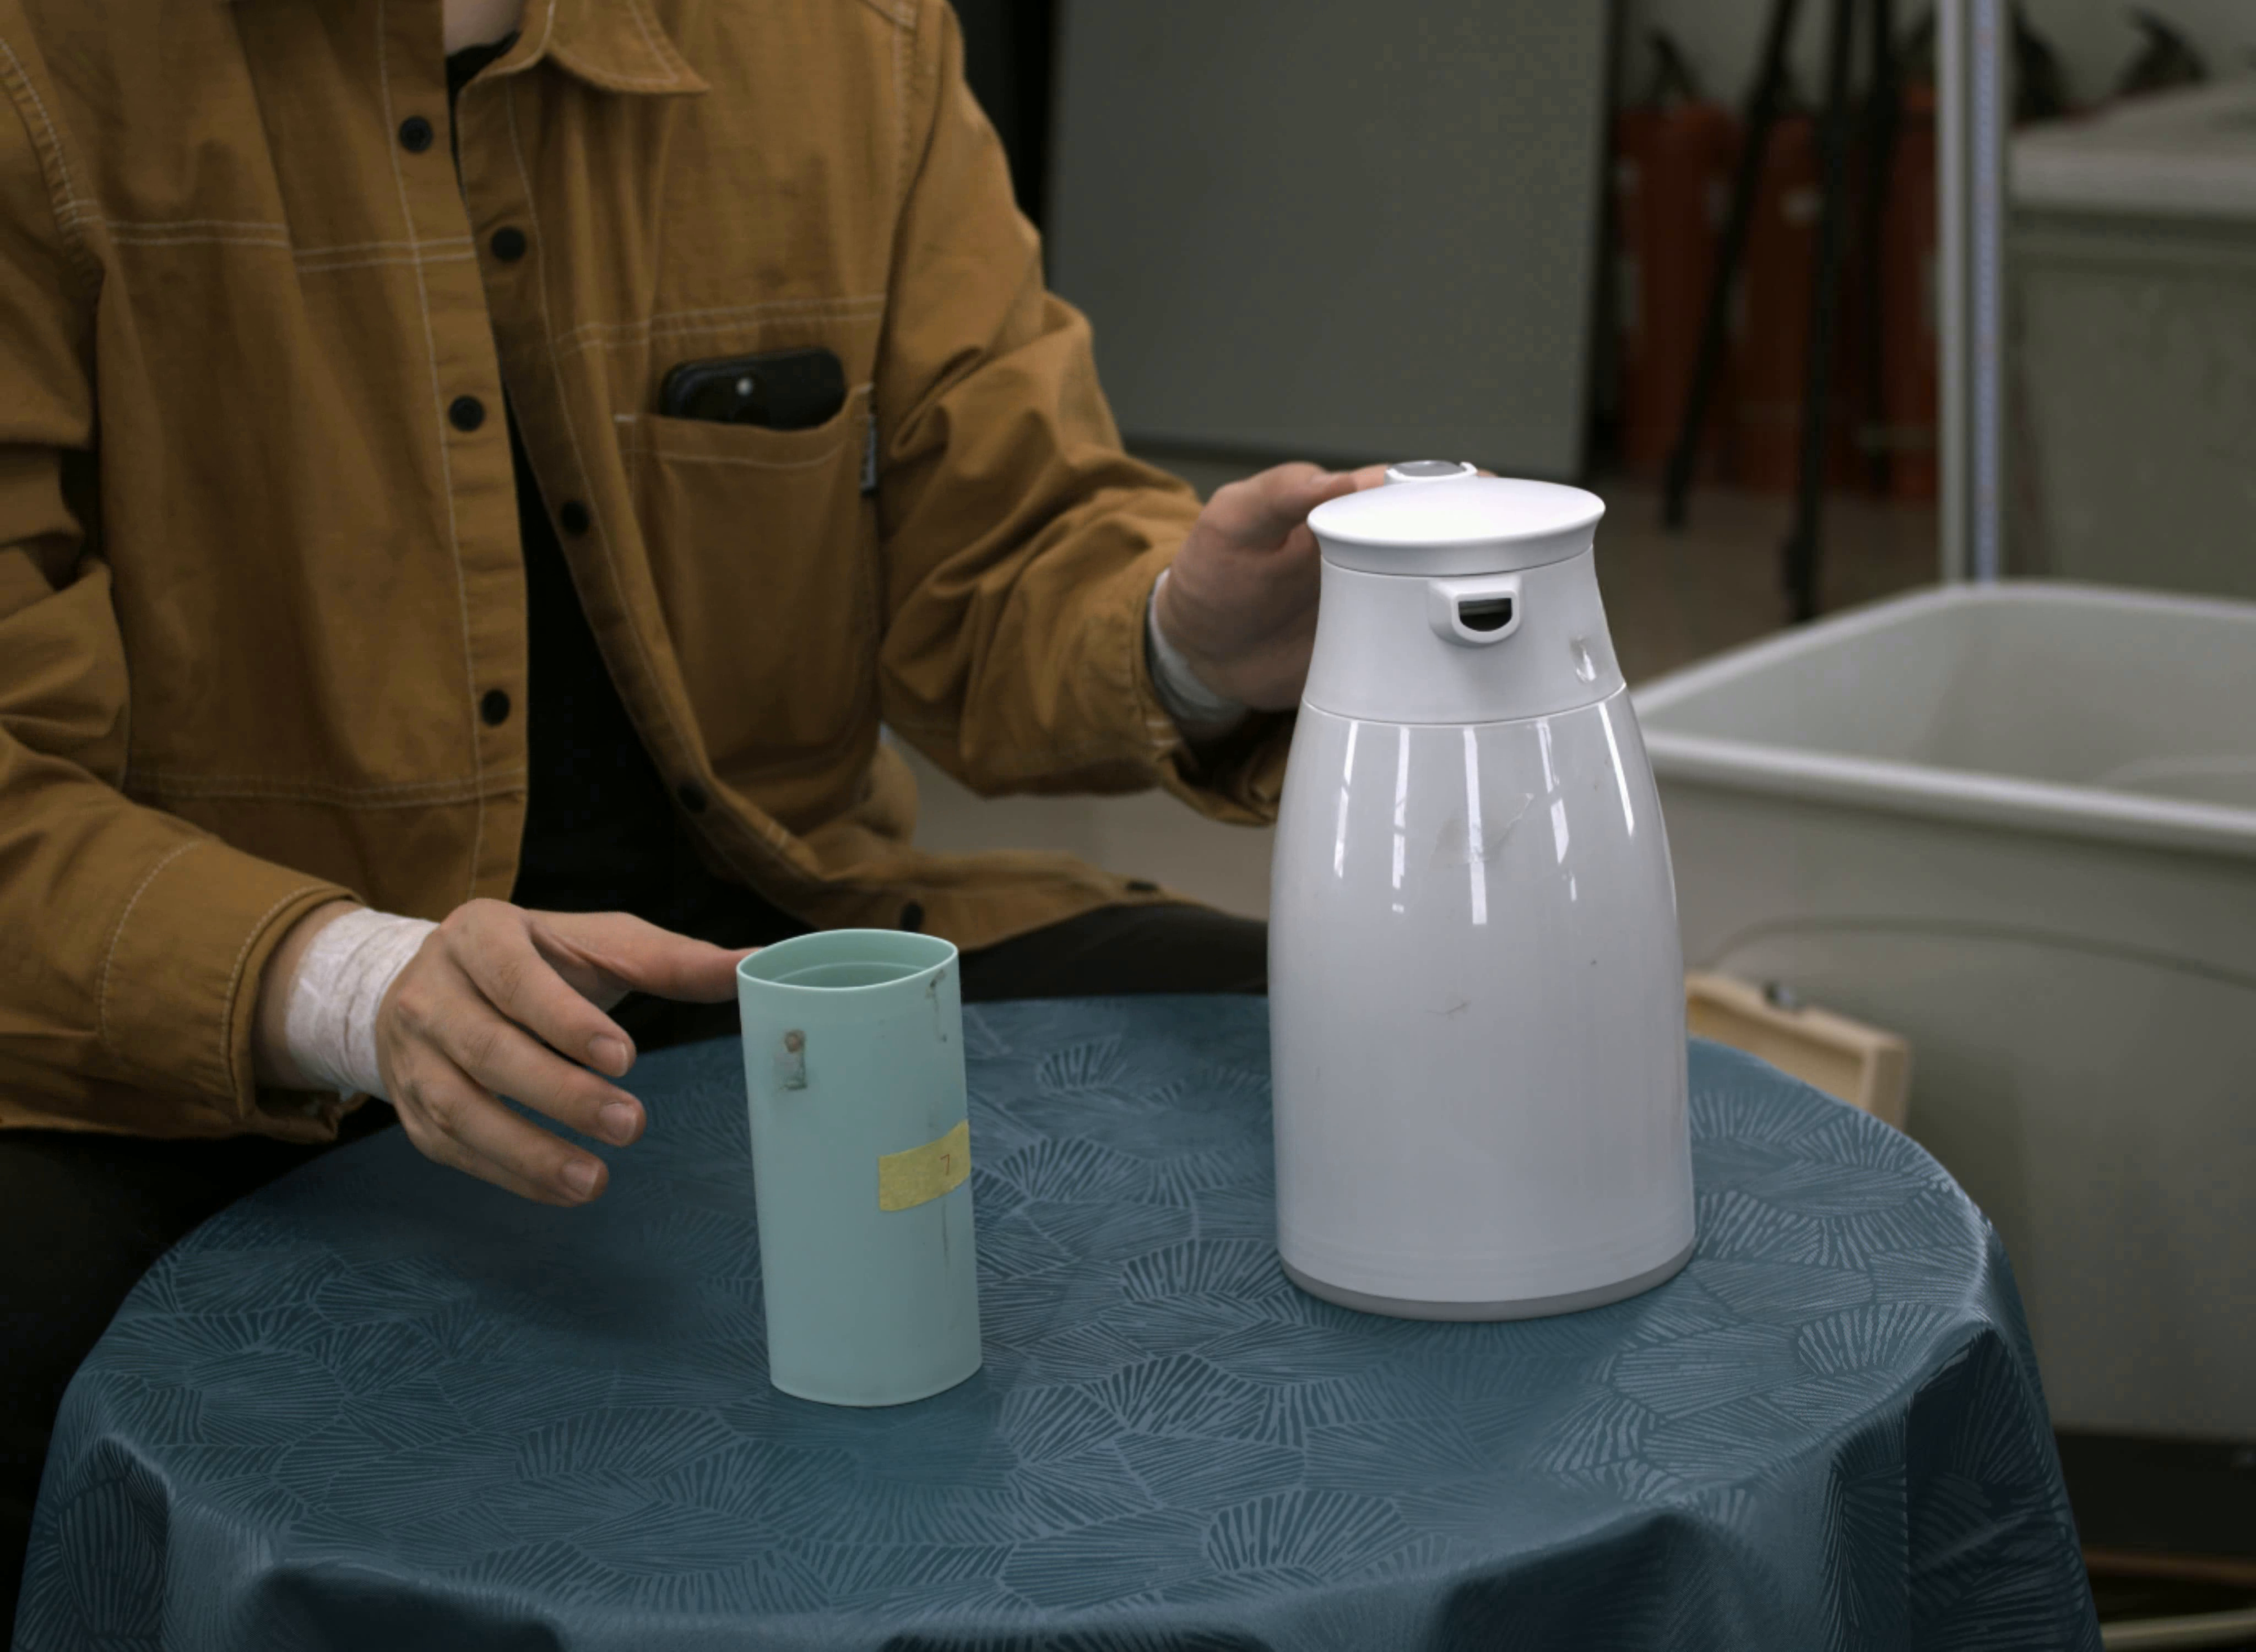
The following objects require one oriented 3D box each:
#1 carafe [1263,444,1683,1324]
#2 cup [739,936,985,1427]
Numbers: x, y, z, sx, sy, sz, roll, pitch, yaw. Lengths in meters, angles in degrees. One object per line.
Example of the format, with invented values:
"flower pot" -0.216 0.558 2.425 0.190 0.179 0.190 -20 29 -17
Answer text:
"carafe" 0.102 0.010 1.679 0.130 0.251 0.168 -3 12 -3
"cup" -0.079 0.105 1.607 0.066 0.134 0.067 -4 13 0
